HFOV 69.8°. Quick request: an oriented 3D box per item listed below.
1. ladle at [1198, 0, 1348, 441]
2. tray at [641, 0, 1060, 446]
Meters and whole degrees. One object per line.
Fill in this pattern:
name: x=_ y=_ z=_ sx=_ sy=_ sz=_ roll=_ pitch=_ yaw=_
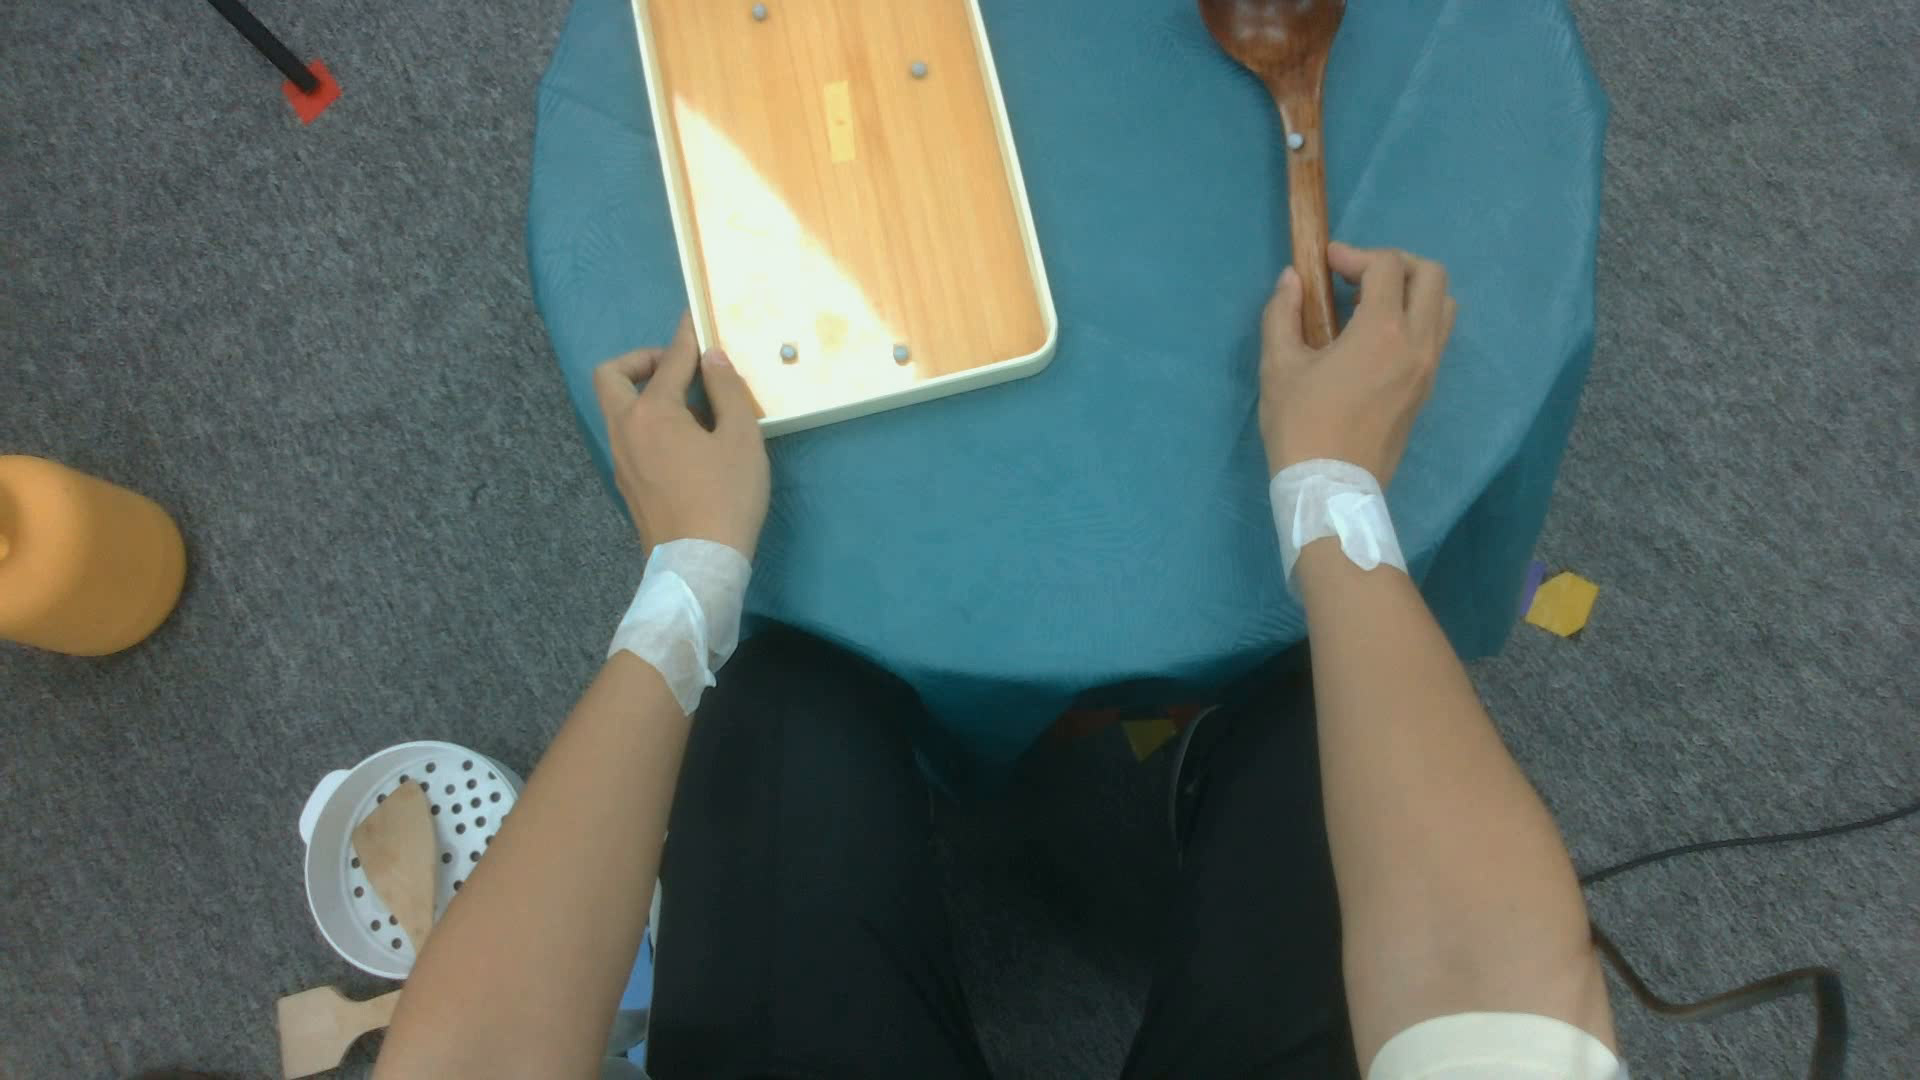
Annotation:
ladle: x=0.174 y=-0.192 z=0.735 sx=0.081 sy=0.077 sz=0.274 roll=-12 pitch=71 yaw=41
tray: x=-0.066 y=-0.213 z=0.785 sx=0.191 sy=0.027 sz=0.301 roll=-13 pitch=76 yaw=1
